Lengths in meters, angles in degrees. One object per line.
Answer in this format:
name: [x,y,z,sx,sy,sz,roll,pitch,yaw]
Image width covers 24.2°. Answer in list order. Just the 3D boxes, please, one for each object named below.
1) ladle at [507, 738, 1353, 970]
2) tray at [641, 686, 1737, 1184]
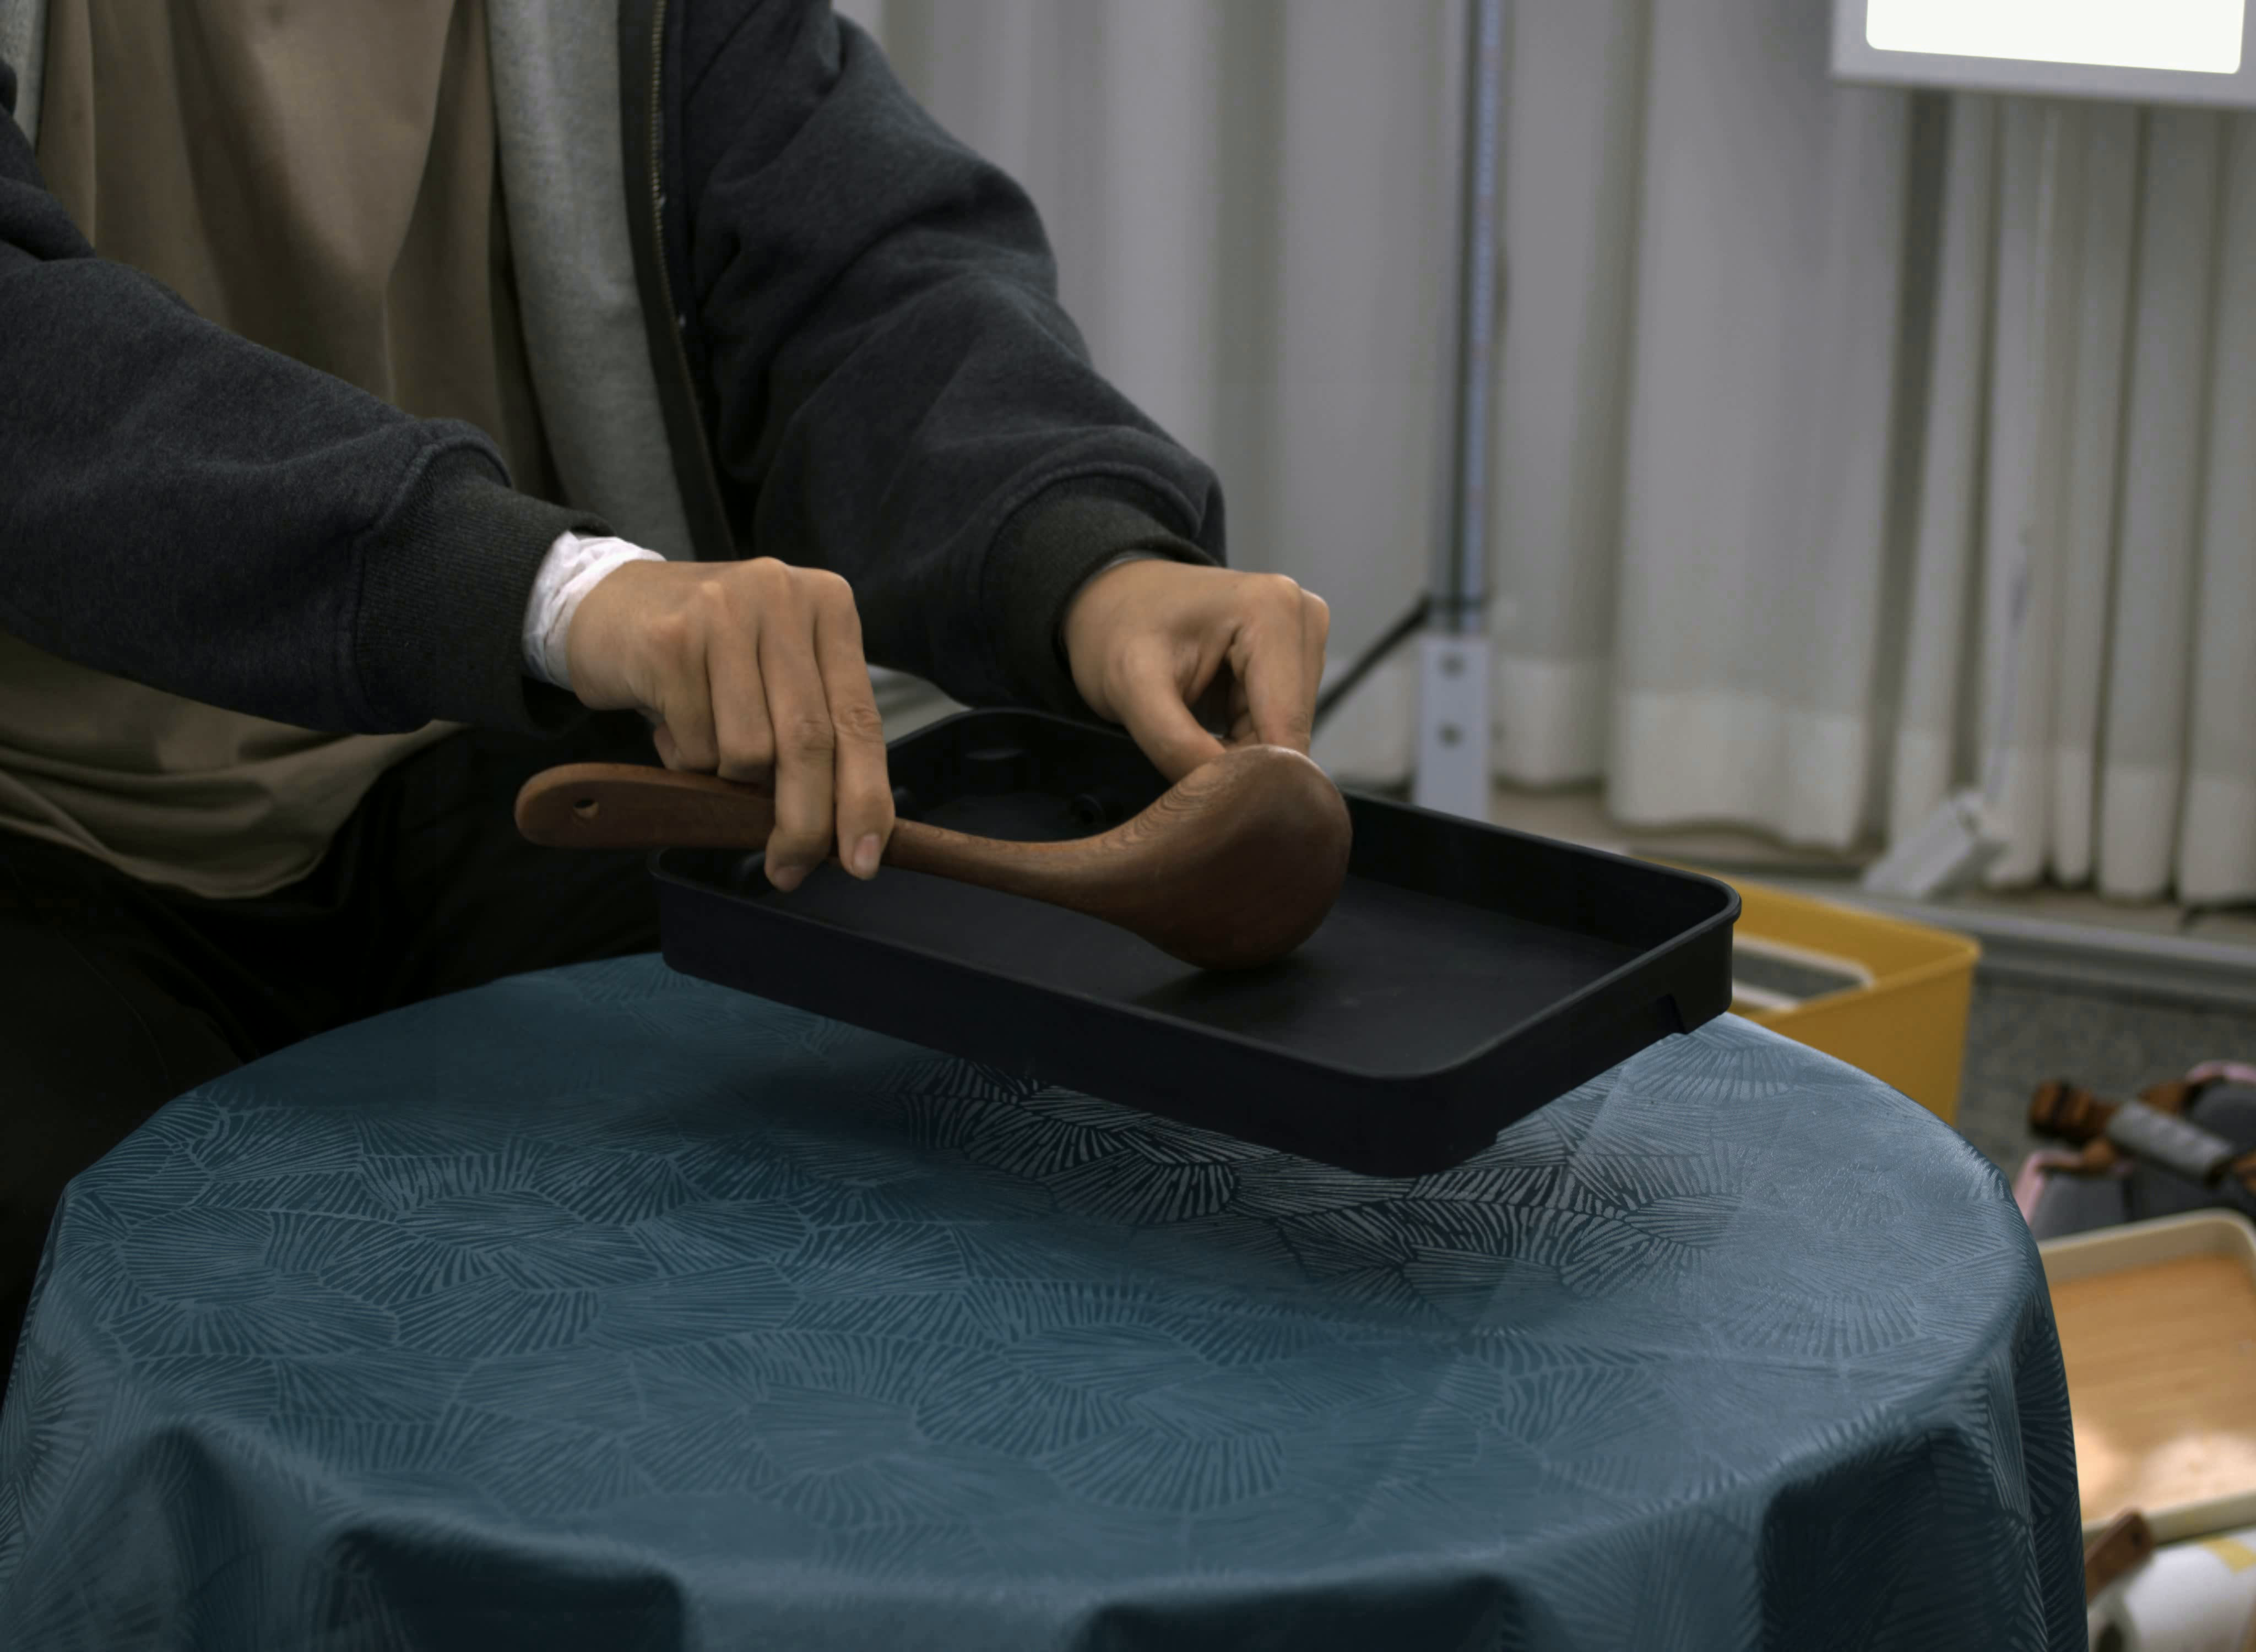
ladle: [-0.060,-0.001,1.635,0.259,0.077,0.065,7,24,3]
tray: [0.016,0.028,1.647,0.314,0.037,0.185,16,28,36]
